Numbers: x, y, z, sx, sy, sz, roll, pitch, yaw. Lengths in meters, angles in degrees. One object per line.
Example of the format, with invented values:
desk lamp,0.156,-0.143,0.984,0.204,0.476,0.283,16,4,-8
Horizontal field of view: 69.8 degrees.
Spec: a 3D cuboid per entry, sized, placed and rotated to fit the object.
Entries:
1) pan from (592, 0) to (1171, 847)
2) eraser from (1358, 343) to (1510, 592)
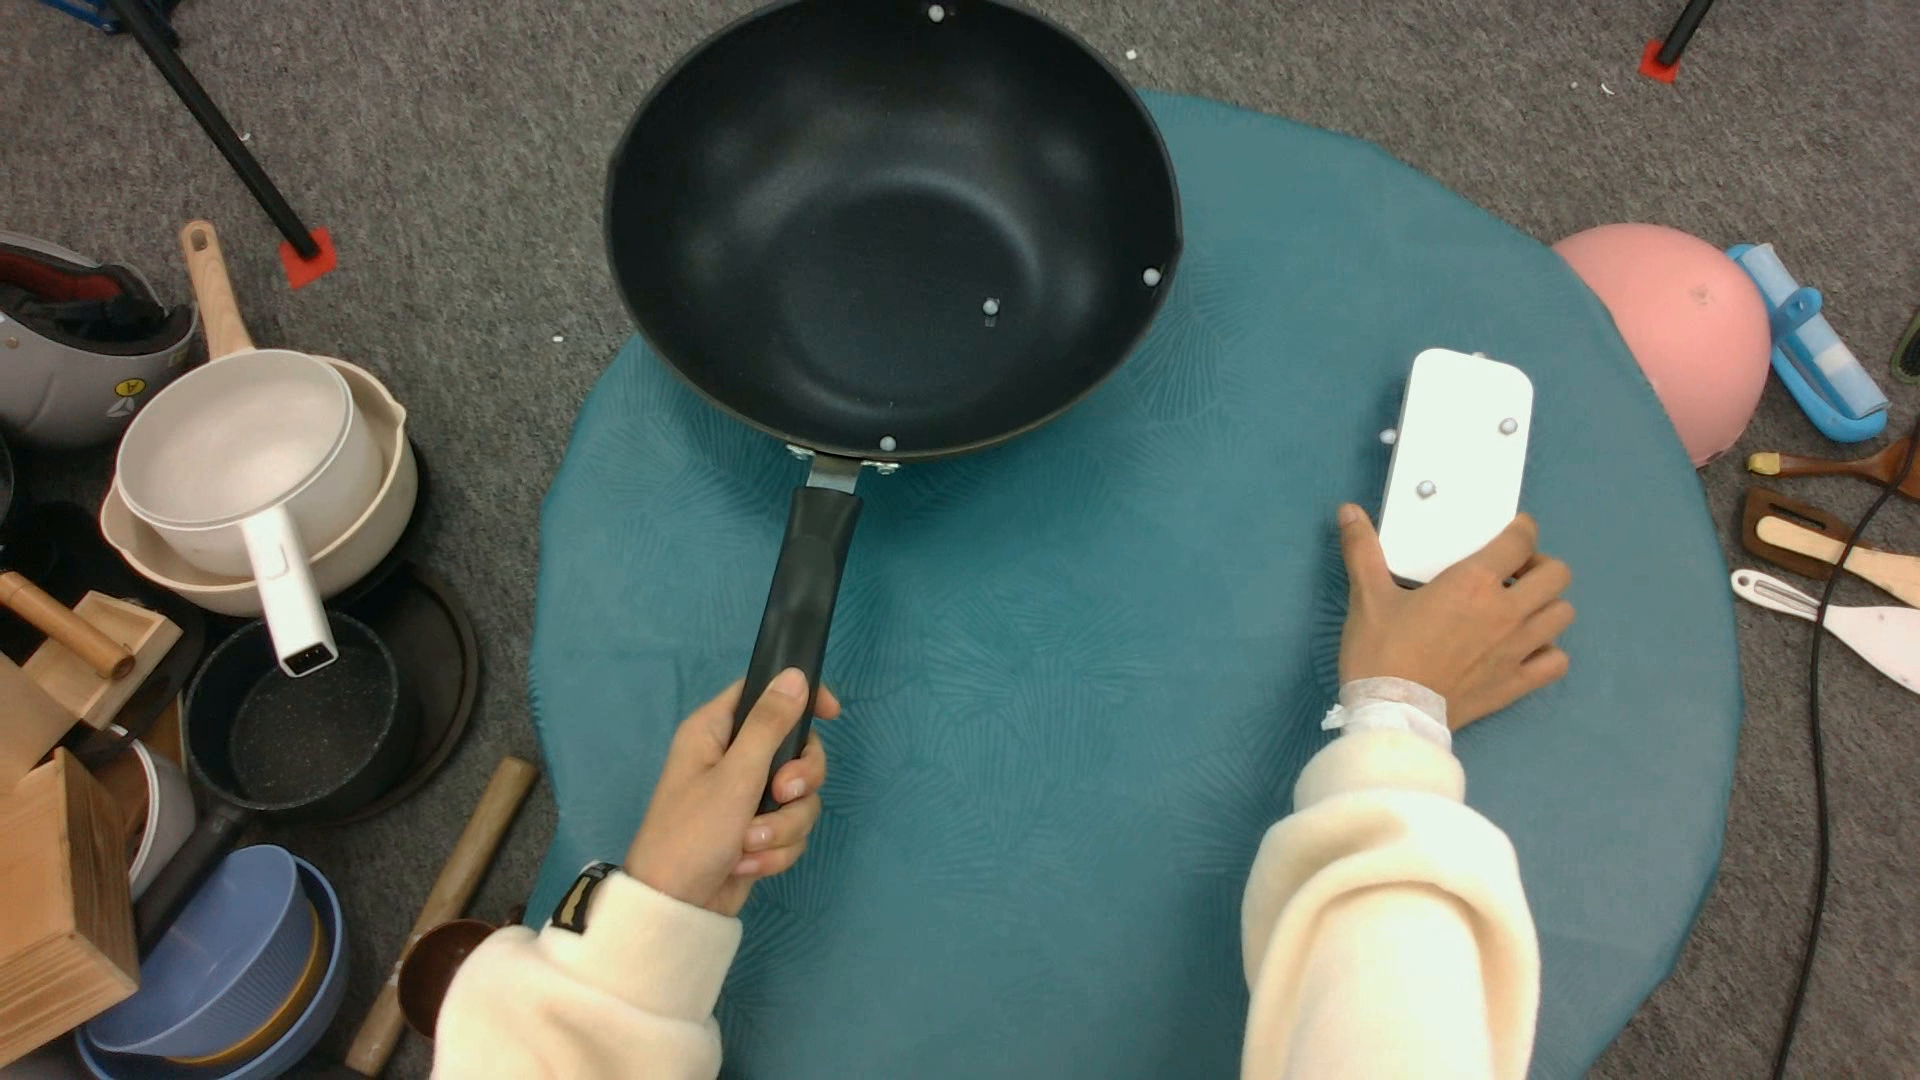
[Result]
pan,-0.056,-0.075,0.678,0.288,0.086,0.465,10,69,3
eraser,0.239,-0.039,0.701,0.063,0.034,0.132,14,68,7
